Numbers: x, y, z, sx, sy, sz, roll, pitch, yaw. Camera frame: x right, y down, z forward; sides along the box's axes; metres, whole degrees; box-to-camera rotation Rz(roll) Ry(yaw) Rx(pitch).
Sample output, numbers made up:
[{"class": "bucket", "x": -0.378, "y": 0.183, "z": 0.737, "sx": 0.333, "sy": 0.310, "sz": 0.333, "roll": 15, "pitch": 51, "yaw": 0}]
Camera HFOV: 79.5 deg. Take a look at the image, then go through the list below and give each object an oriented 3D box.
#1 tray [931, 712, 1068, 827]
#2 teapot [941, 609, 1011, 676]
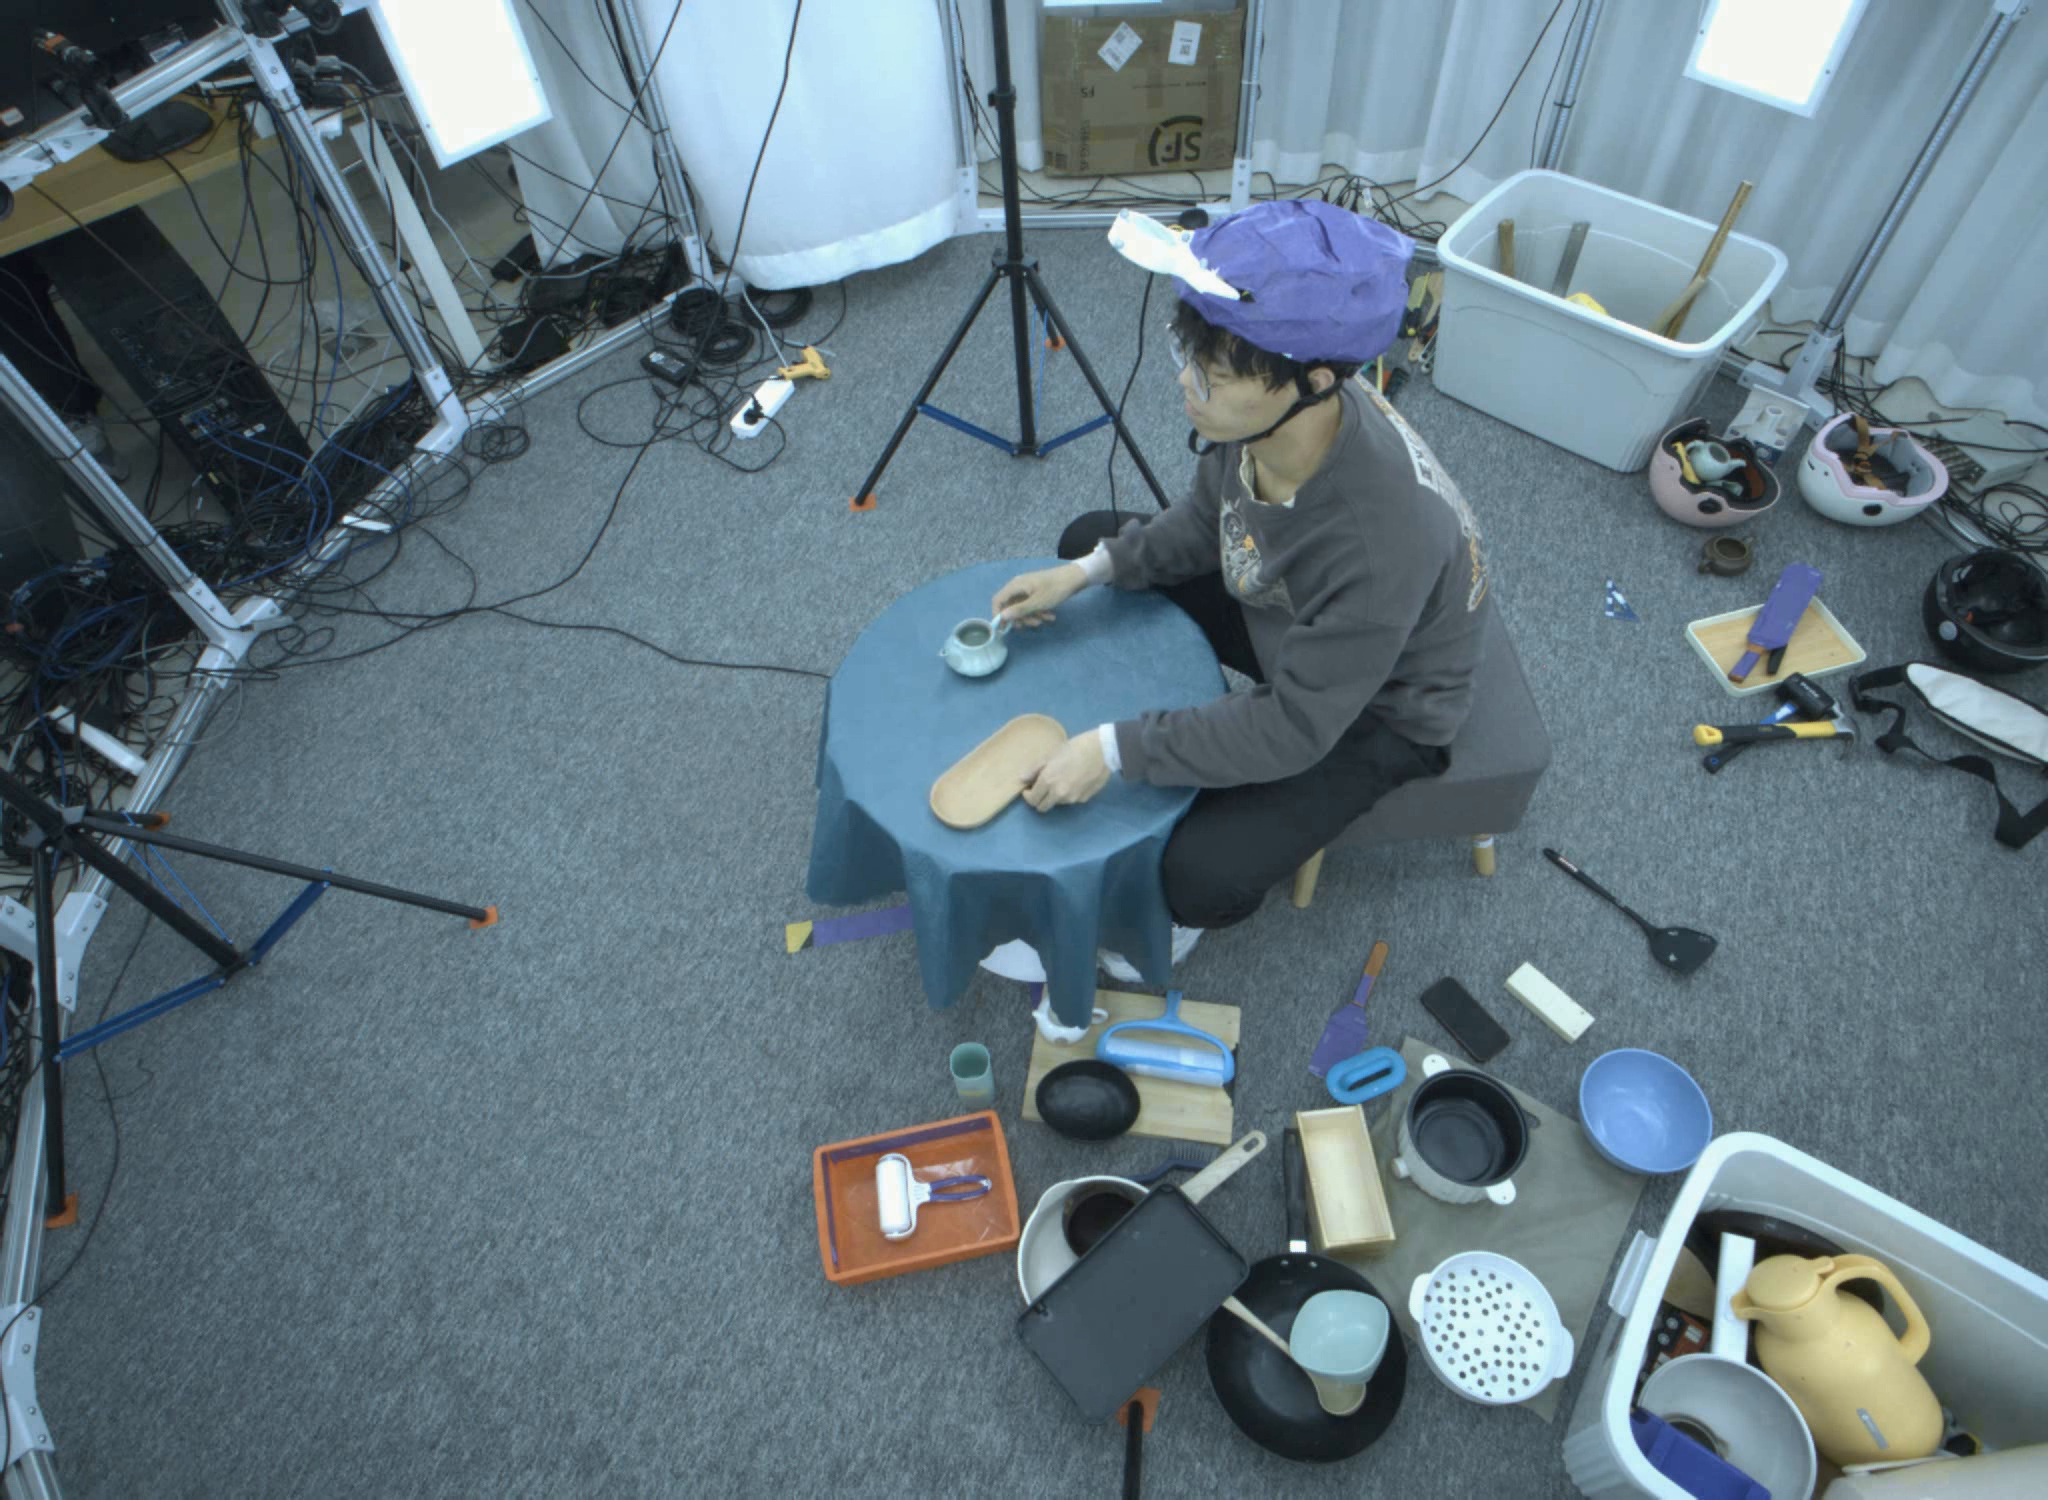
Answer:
[{"class": "tray", "x": -0.033, "y": 0.027, "z": 1.756, "sx": 0.233, "sy": 0.020, "sz": 0.100, "roll": -39, "pitch": 62, "yaw": -24}, {"class": "teapot", "x": -0.070, "y": -0.163, "z": 1.868, "sx": 0.138, "sy": 0.062, "sz": 0.094, "roll": -38, "pitch": 59, "yaw": -22}]
